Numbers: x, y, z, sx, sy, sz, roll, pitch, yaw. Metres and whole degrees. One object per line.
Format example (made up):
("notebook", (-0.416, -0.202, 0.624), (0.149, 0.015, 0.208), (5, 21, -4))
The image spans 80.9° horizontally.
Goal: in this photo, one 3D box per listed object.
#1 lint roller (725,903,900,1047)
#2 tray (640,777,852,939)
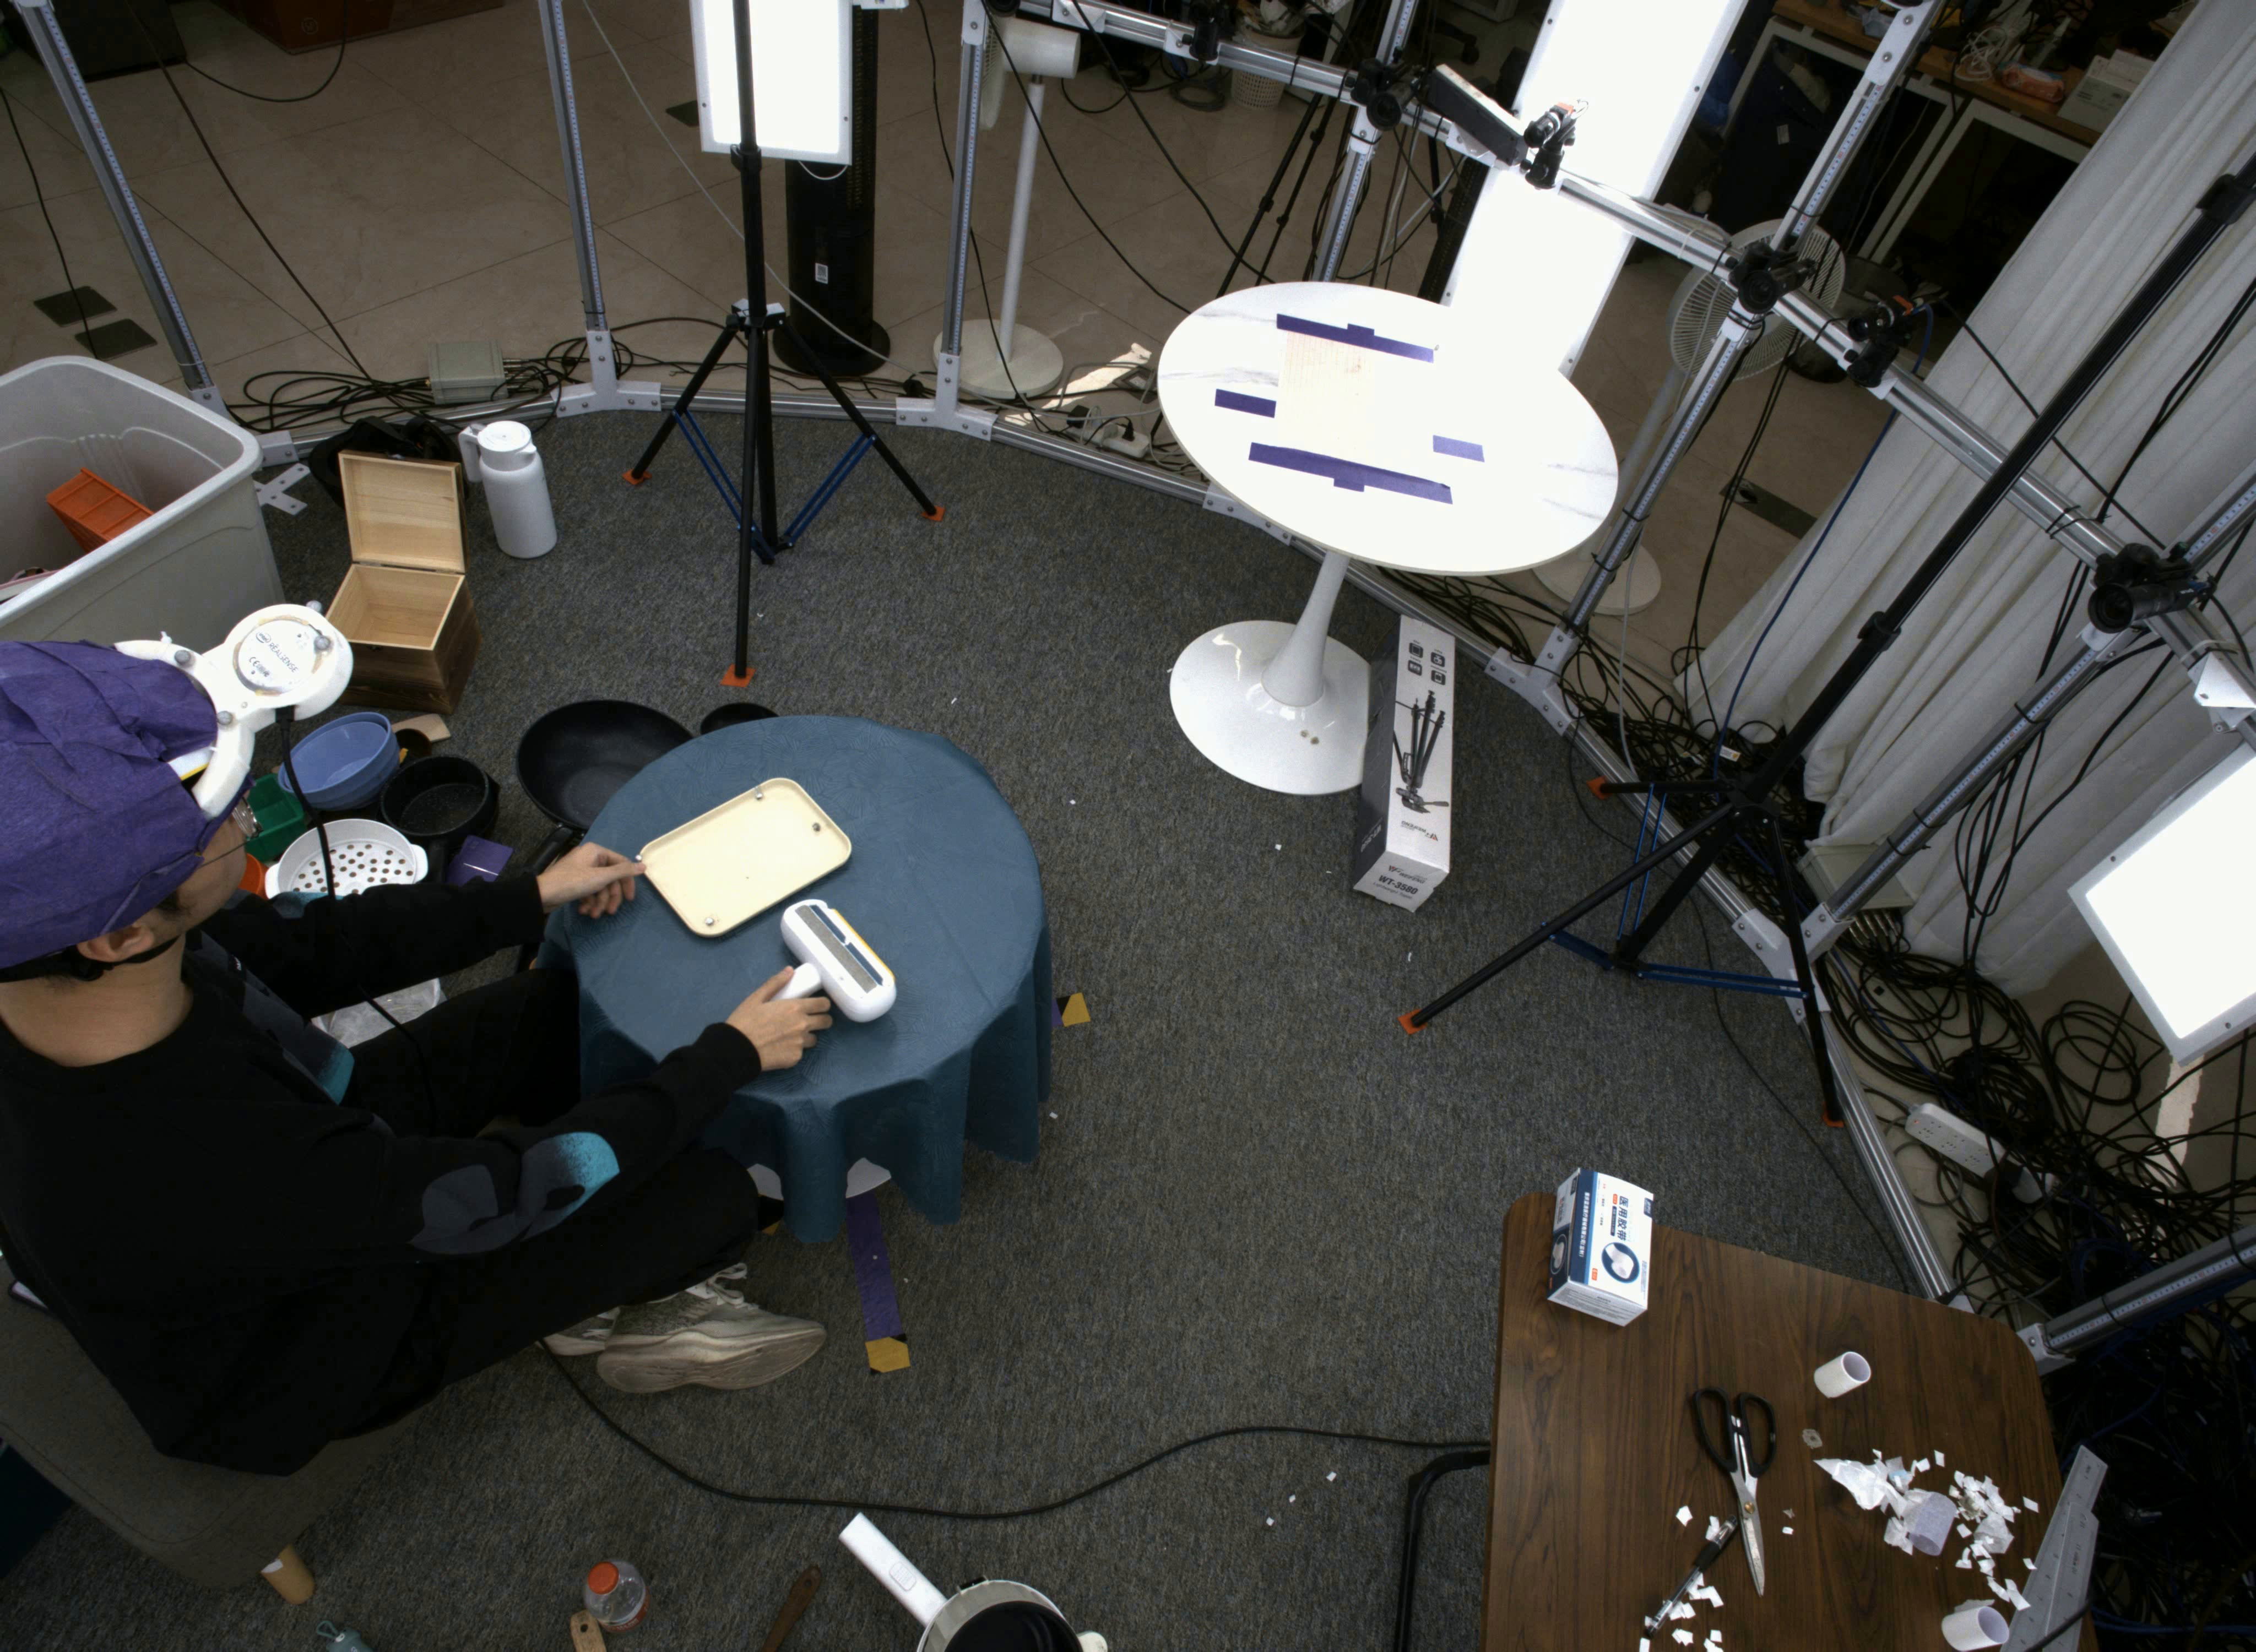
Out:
("lint roller", (-0.395, 0.193, 1.551), (0.193, 0.076, 0.187), (-27, 58, -28))
("tray", (-0.493, 0.038, 1.672), (0.240, 0.018, 0.167), (-33, 69, -32))
